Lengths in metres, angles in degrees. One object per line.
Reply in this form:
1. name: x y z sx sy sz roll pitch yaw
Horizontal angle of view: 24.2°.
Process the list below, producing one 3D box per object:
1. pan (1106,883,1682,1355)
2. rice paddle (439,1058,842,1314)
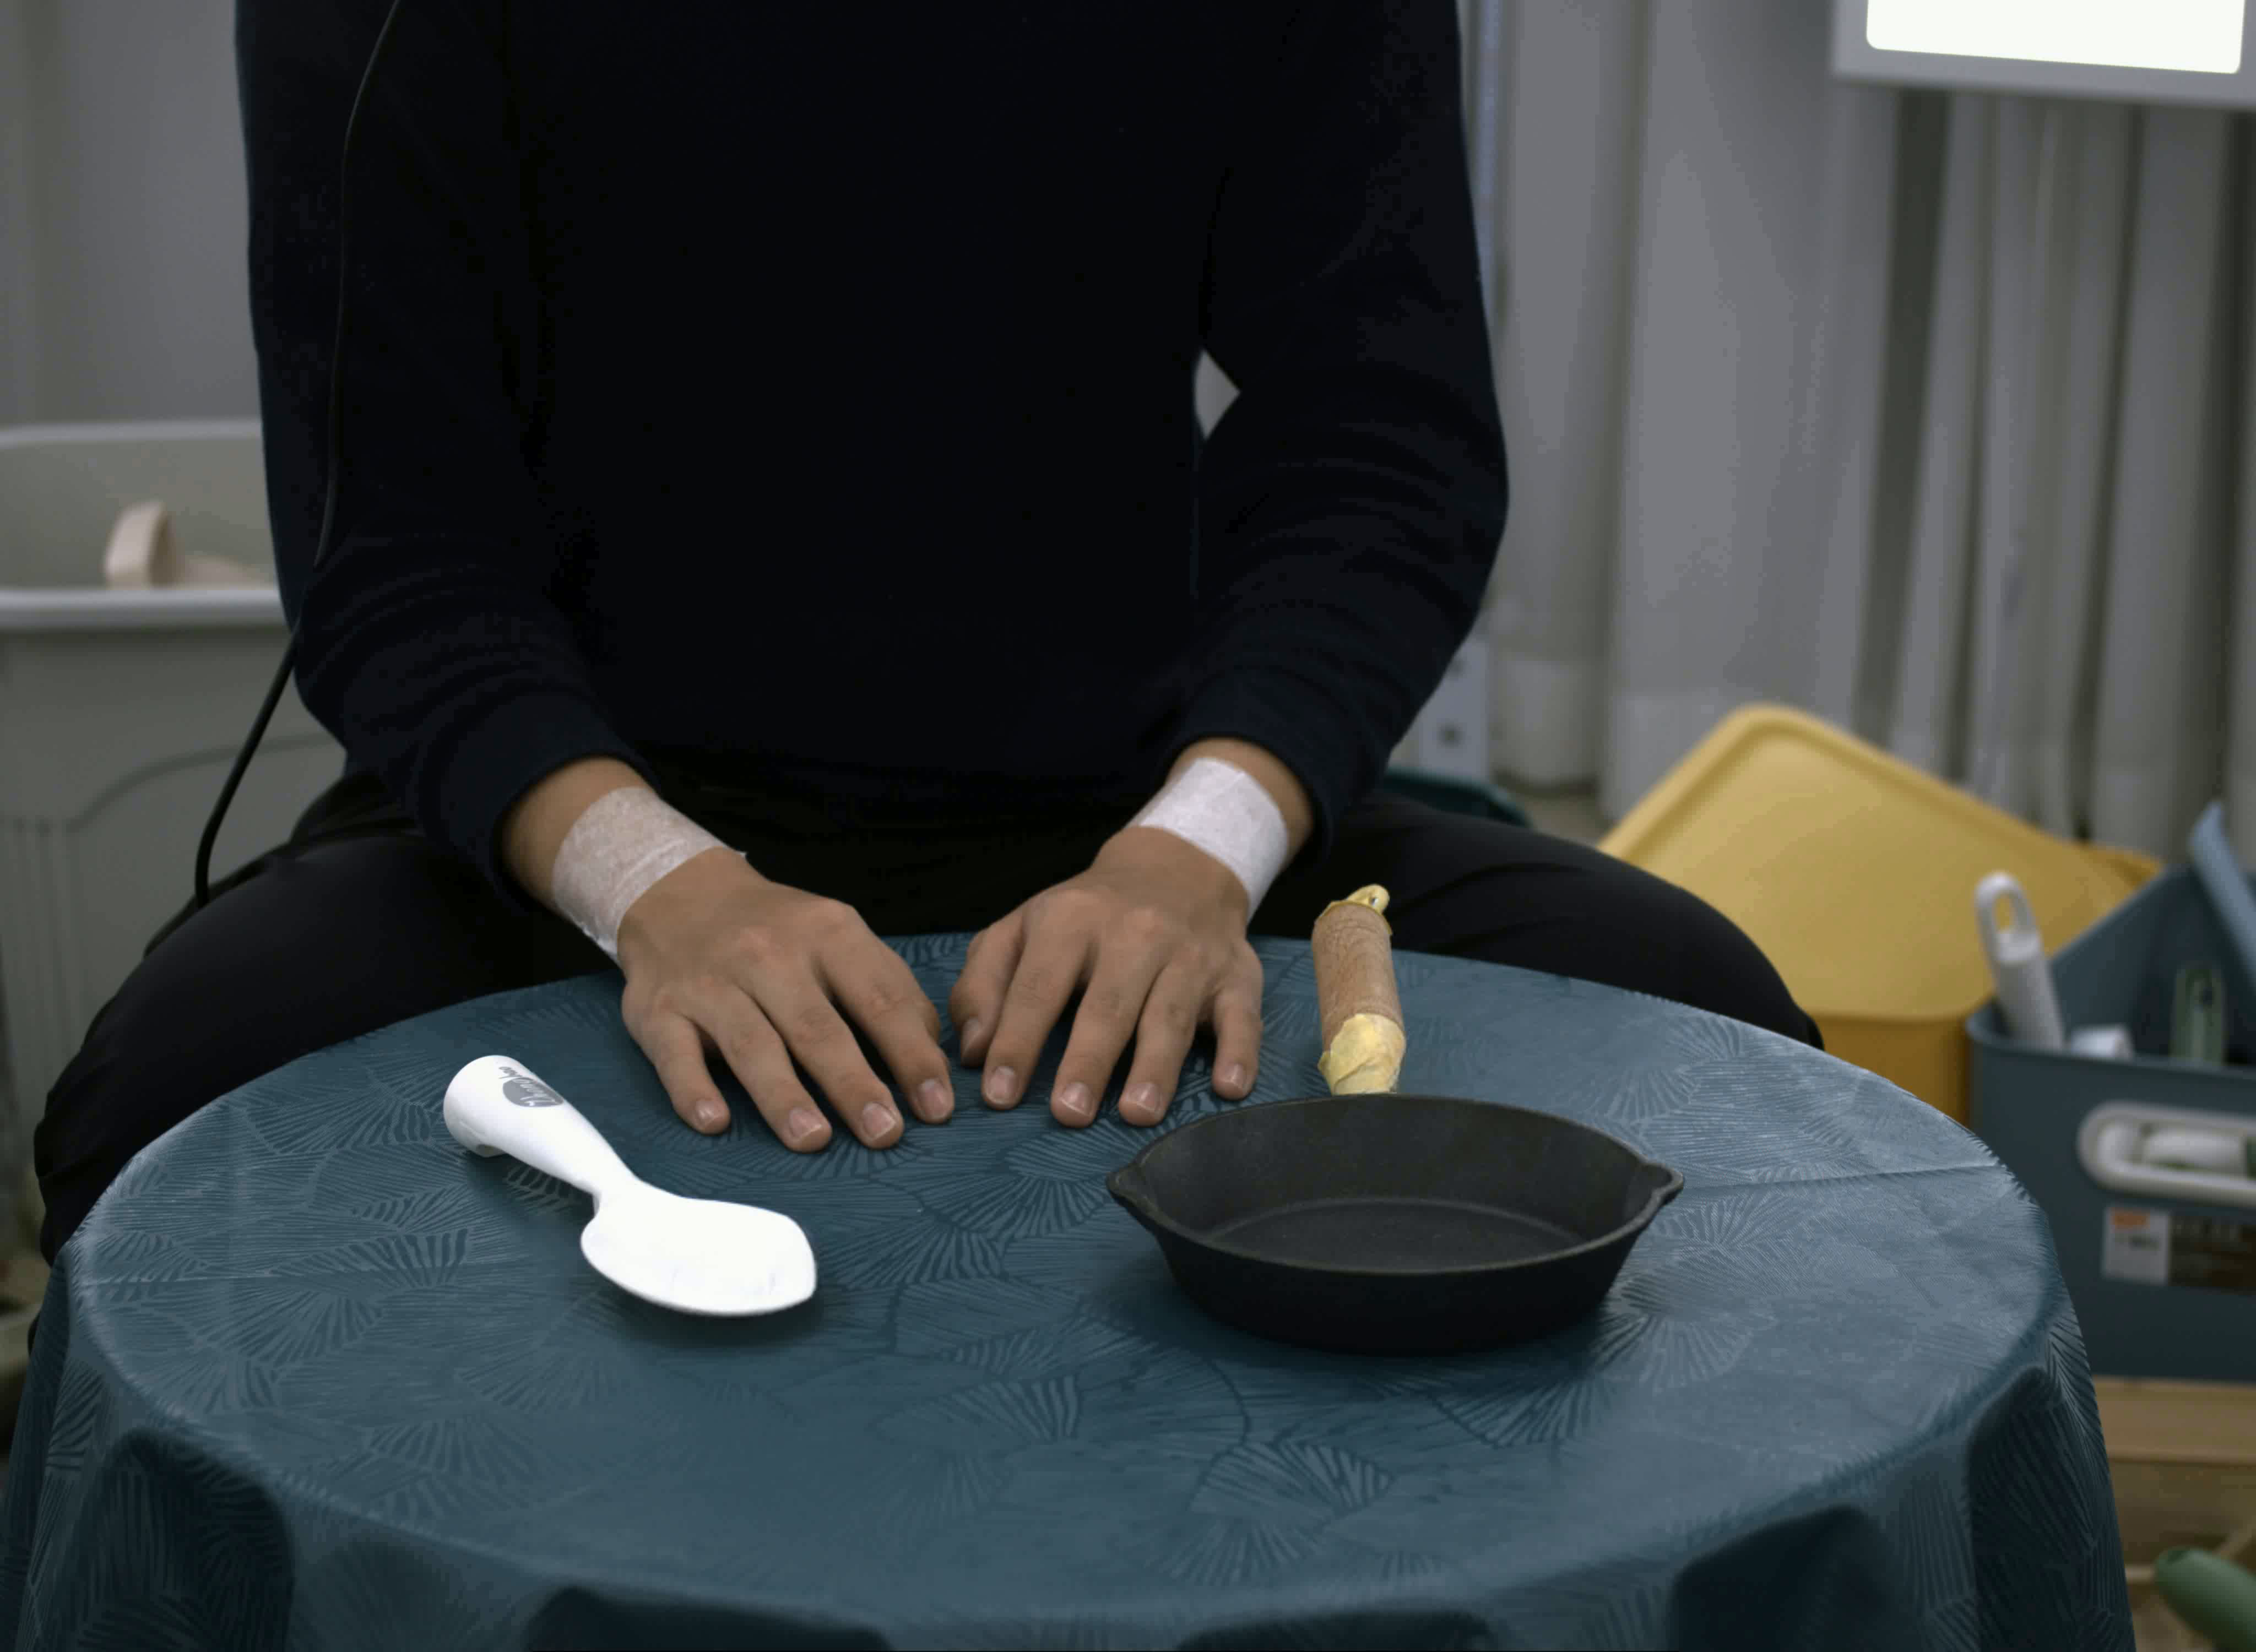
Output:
1. pan: 0.079 0.087 1.622 0.168 0.050 0.322 0 17 0
2. rice paddle: -0.150 0.109 1.574 0.069 0.029 0.202 -11 19 -29
